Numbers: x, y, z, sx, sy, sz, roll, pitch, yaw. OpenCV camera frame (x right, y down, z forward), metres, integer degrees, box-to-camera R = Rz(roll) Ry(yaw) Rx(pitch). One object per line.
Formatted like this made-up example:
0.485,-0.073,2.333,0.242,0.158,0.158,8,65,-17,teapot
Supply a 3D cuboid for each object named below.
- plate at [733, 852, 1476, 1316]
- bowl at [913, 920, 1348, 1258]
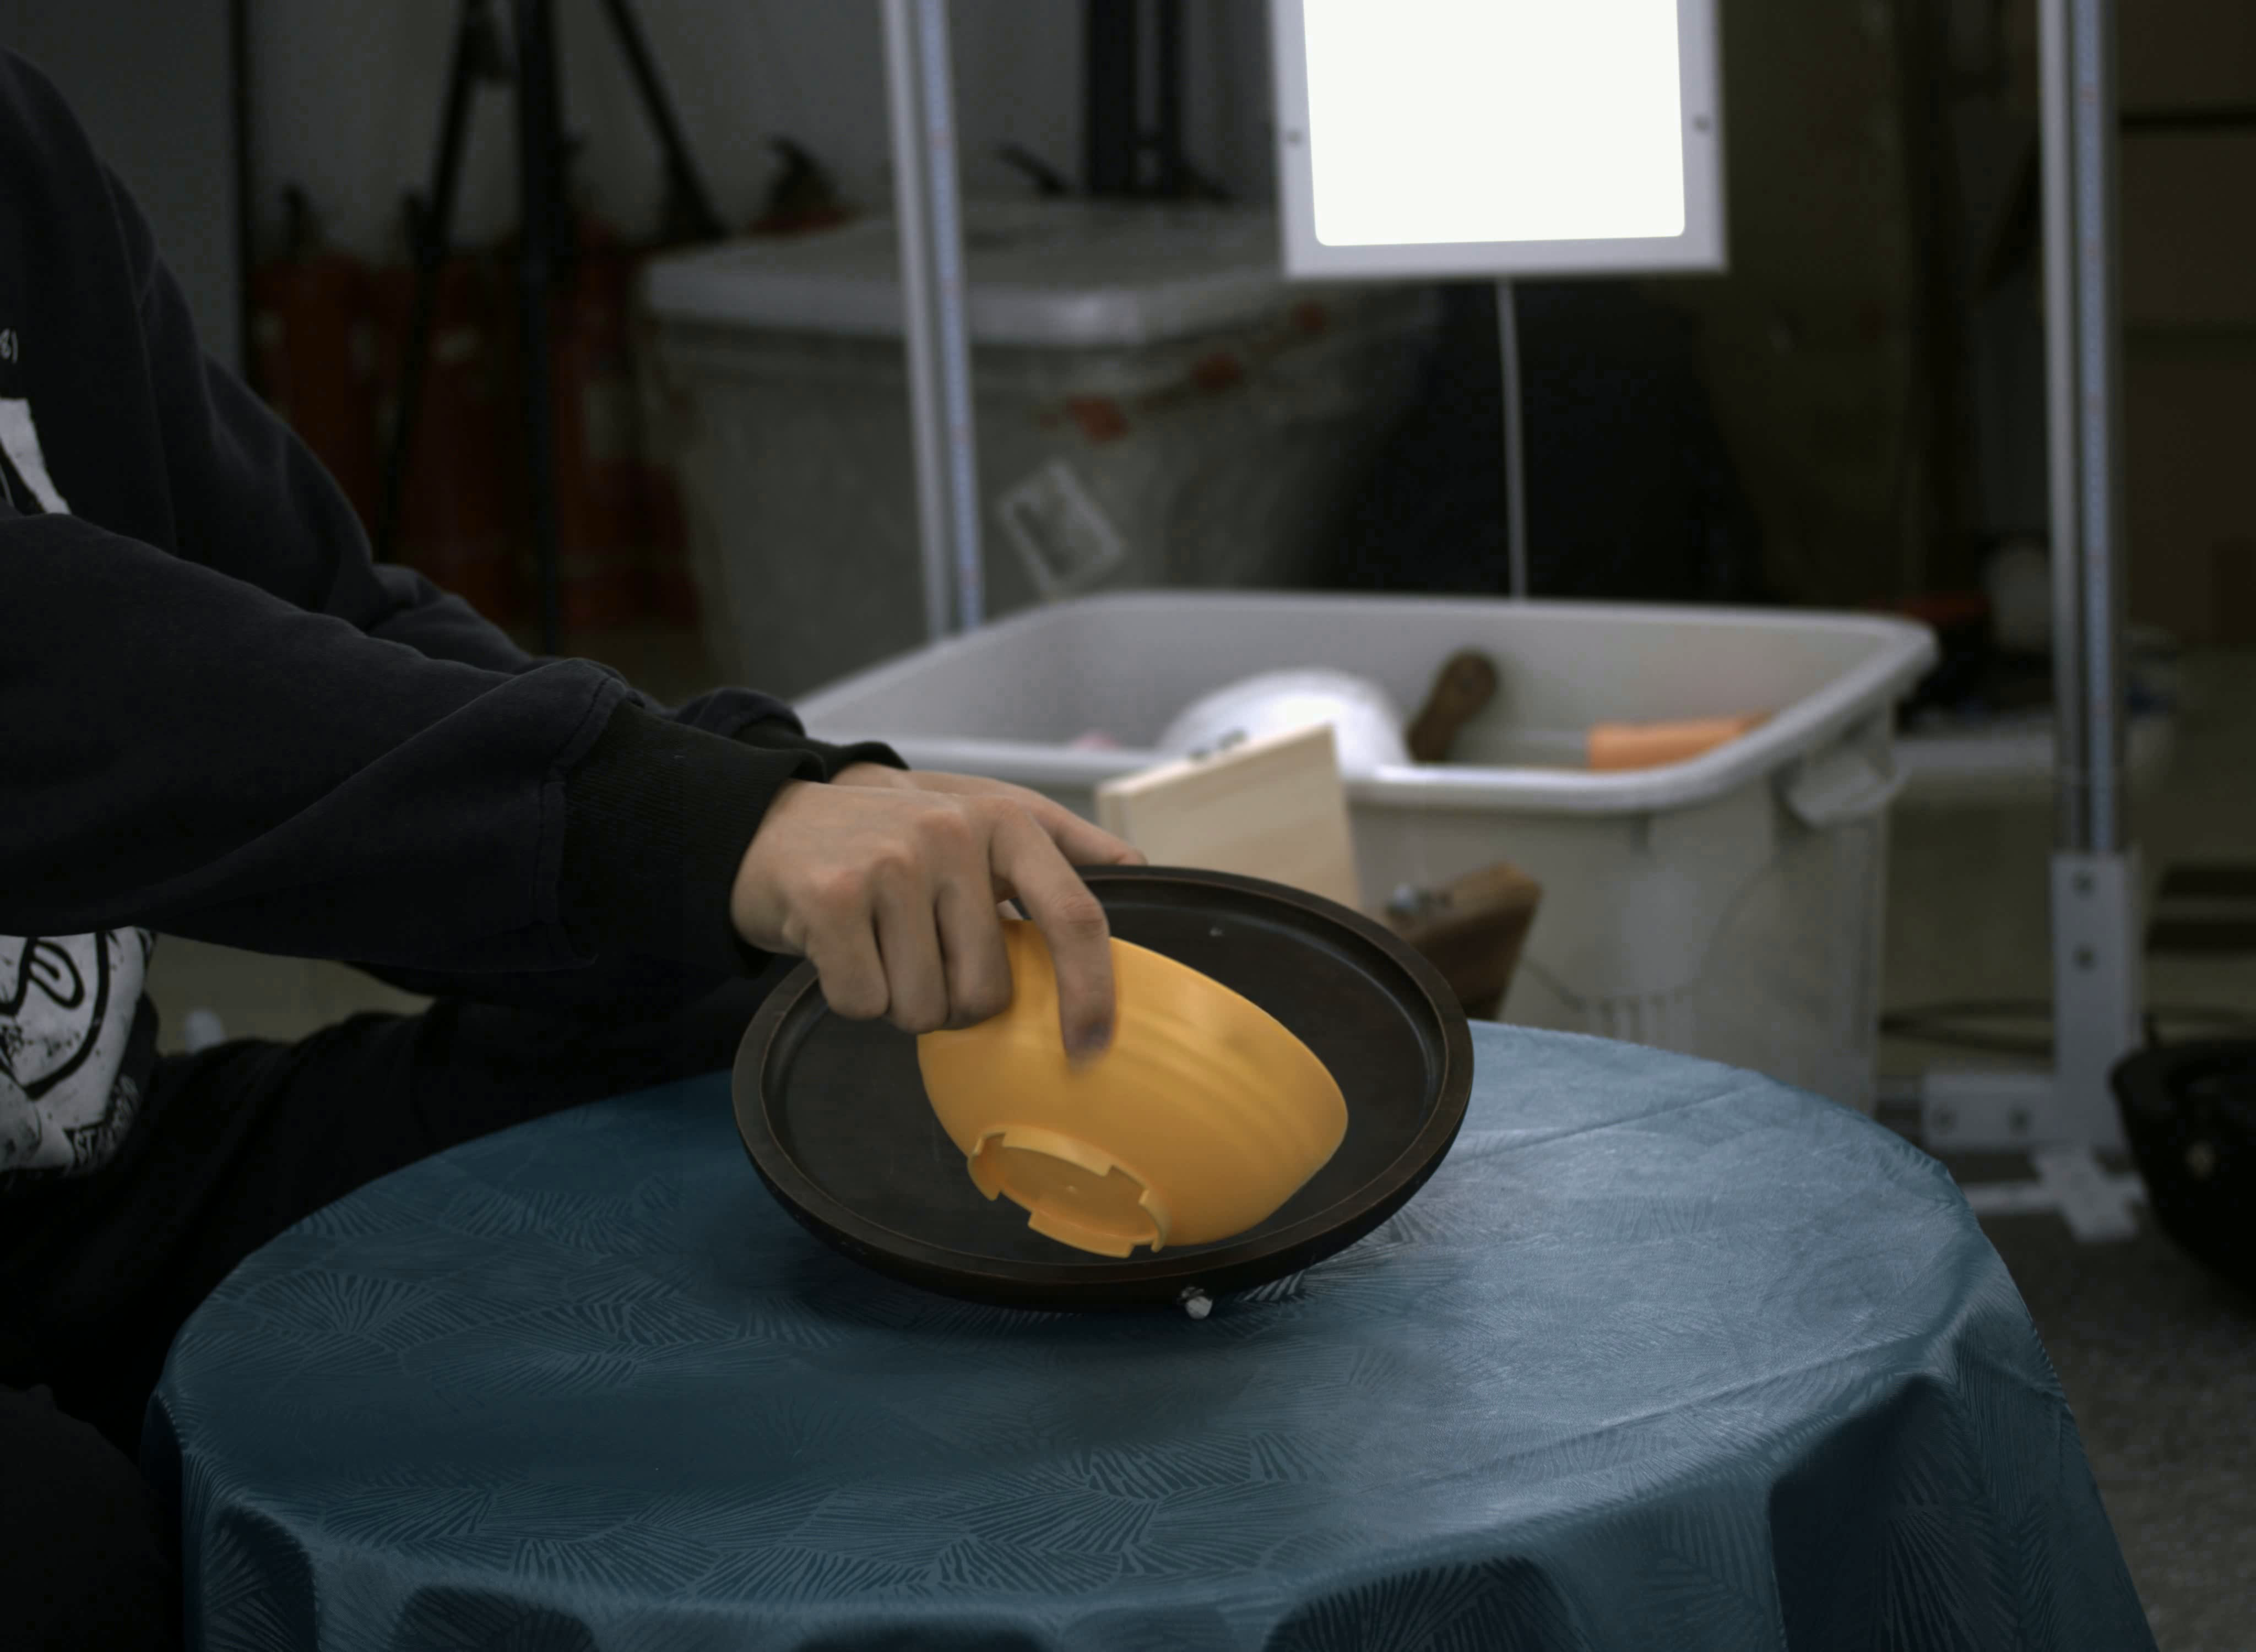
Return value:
-0.007,0.087,1.868,0.254,0.029,0.254,-5,32,2,plate
-0.008,0.093,1.707,0.148,0.144,0.059,5,58,33,bowl
